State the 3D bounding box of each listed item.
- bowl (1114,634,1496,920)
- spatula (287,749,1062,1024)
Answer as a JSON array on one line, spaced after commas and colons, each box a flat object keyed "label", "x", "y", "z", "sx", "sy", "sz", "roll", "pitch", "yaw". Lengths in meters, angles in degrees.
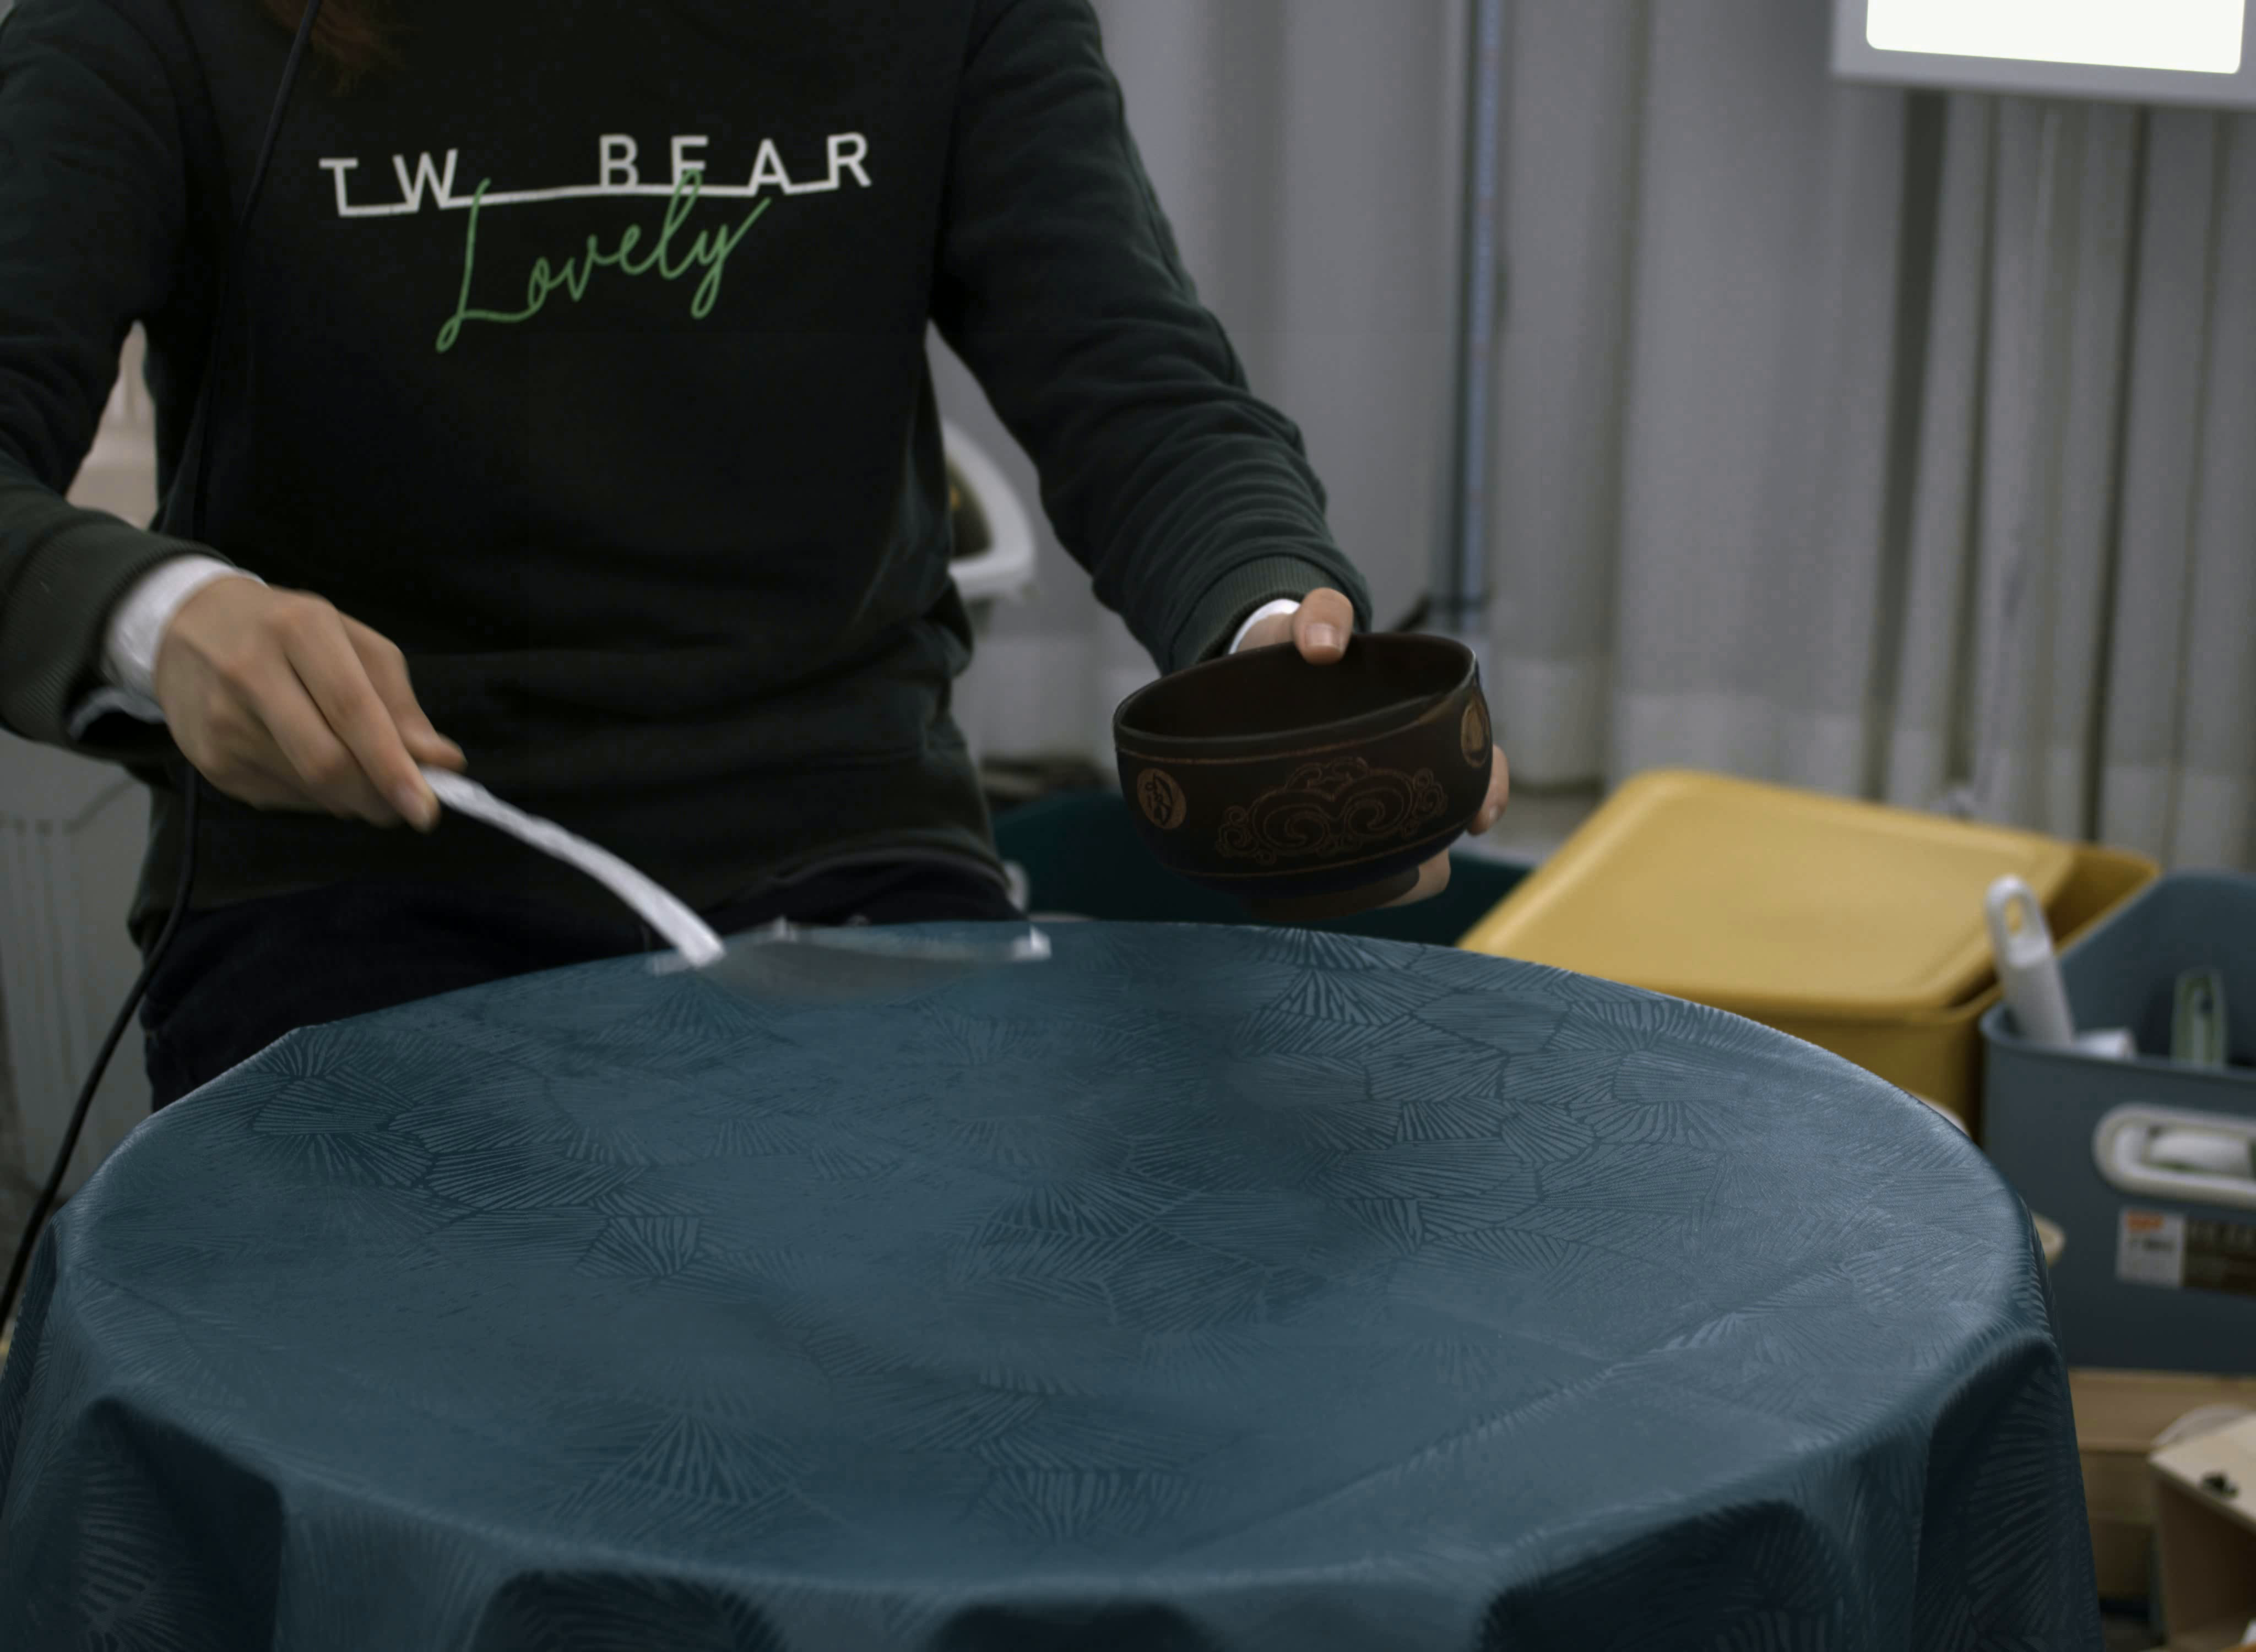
[{"label": "bowl", "x": 0.057, "y": -0.012, "z": 1.640, "sx": 0.117, "sy": 0.070, "sz": 0.117, "roll": -7, "pitch": 15, "yaw": 3}, {"label": "spatula", "x": -0.157, "y": 0.008, "z": 1.541, "sx": 0.099, "sy": 0.045, "sz": 0.360, "roll": 2, "pitch": 15, "yaw": -39}]
